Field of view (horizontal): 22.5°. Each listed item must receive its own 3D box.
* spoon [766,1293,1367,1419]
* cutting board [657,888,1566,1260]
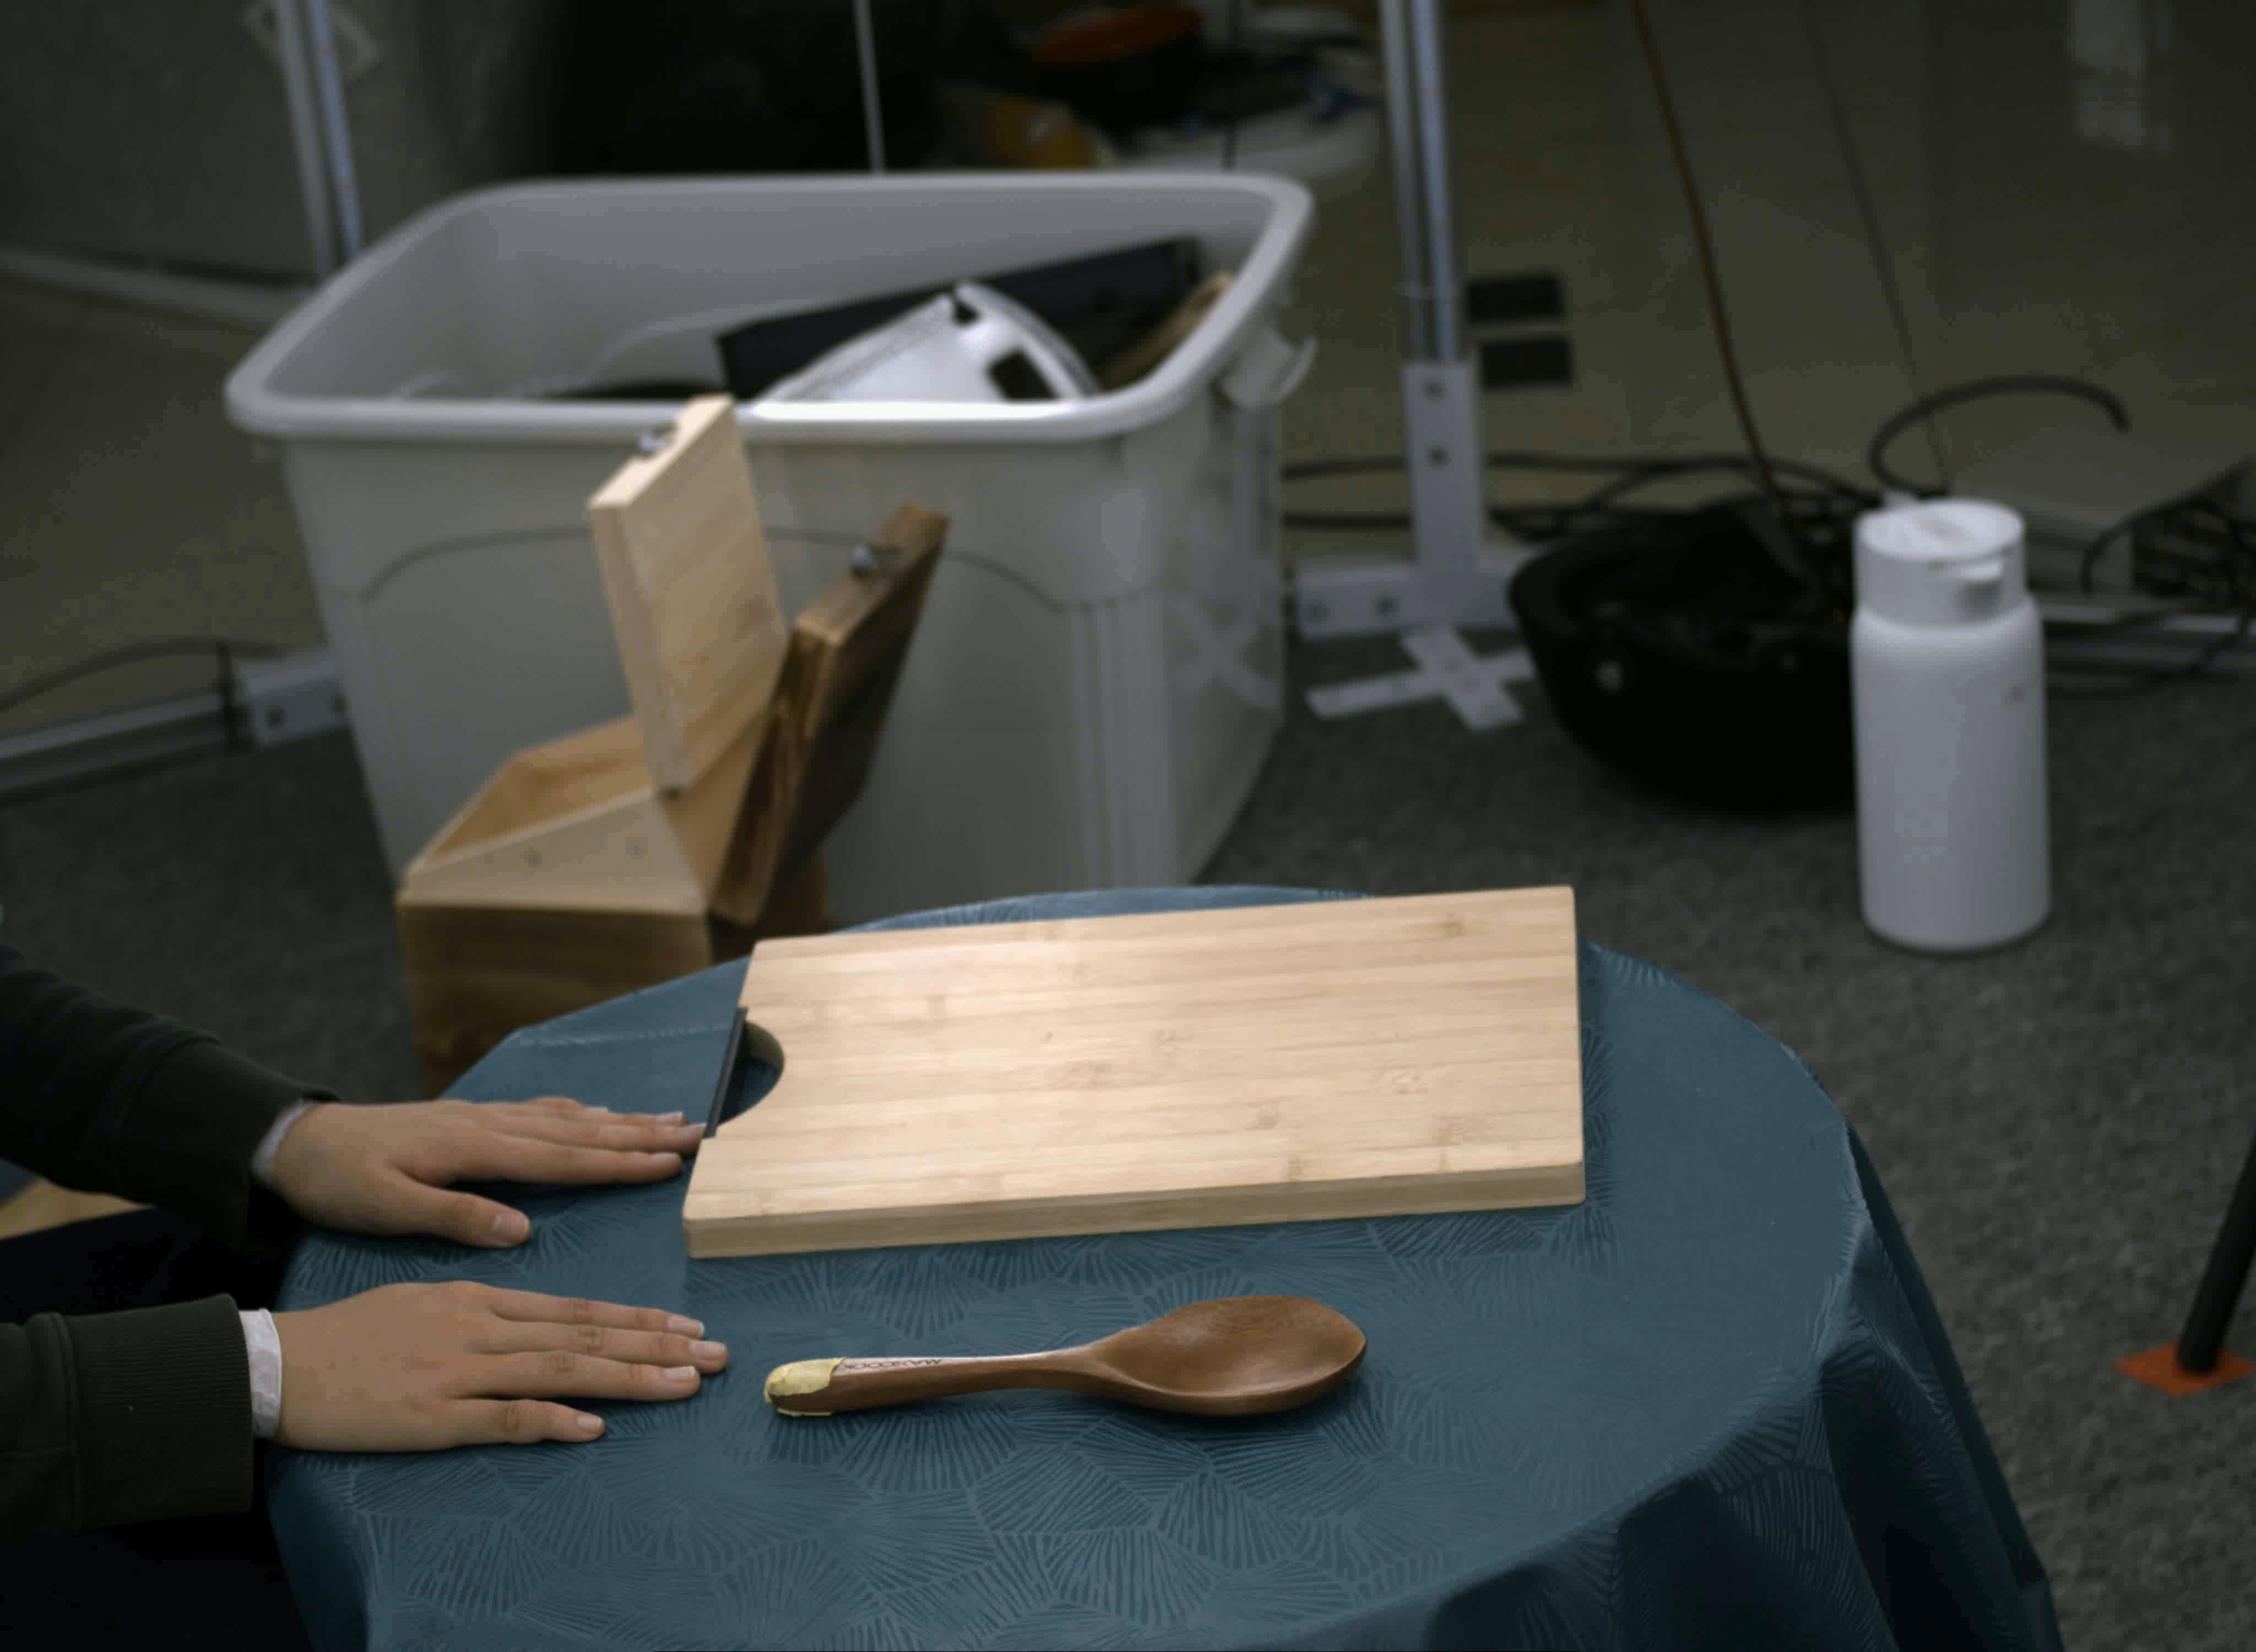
[{"bbox_3d":[-0.022,0.194,2.020,0.215,0.017,0.074,-3,26,6],"label":"spoon"},{"bbox_3d":[0.001,0.096,2.227,0.348,0.024,0.247,-4,24,5],"label":"cutting board"}]
